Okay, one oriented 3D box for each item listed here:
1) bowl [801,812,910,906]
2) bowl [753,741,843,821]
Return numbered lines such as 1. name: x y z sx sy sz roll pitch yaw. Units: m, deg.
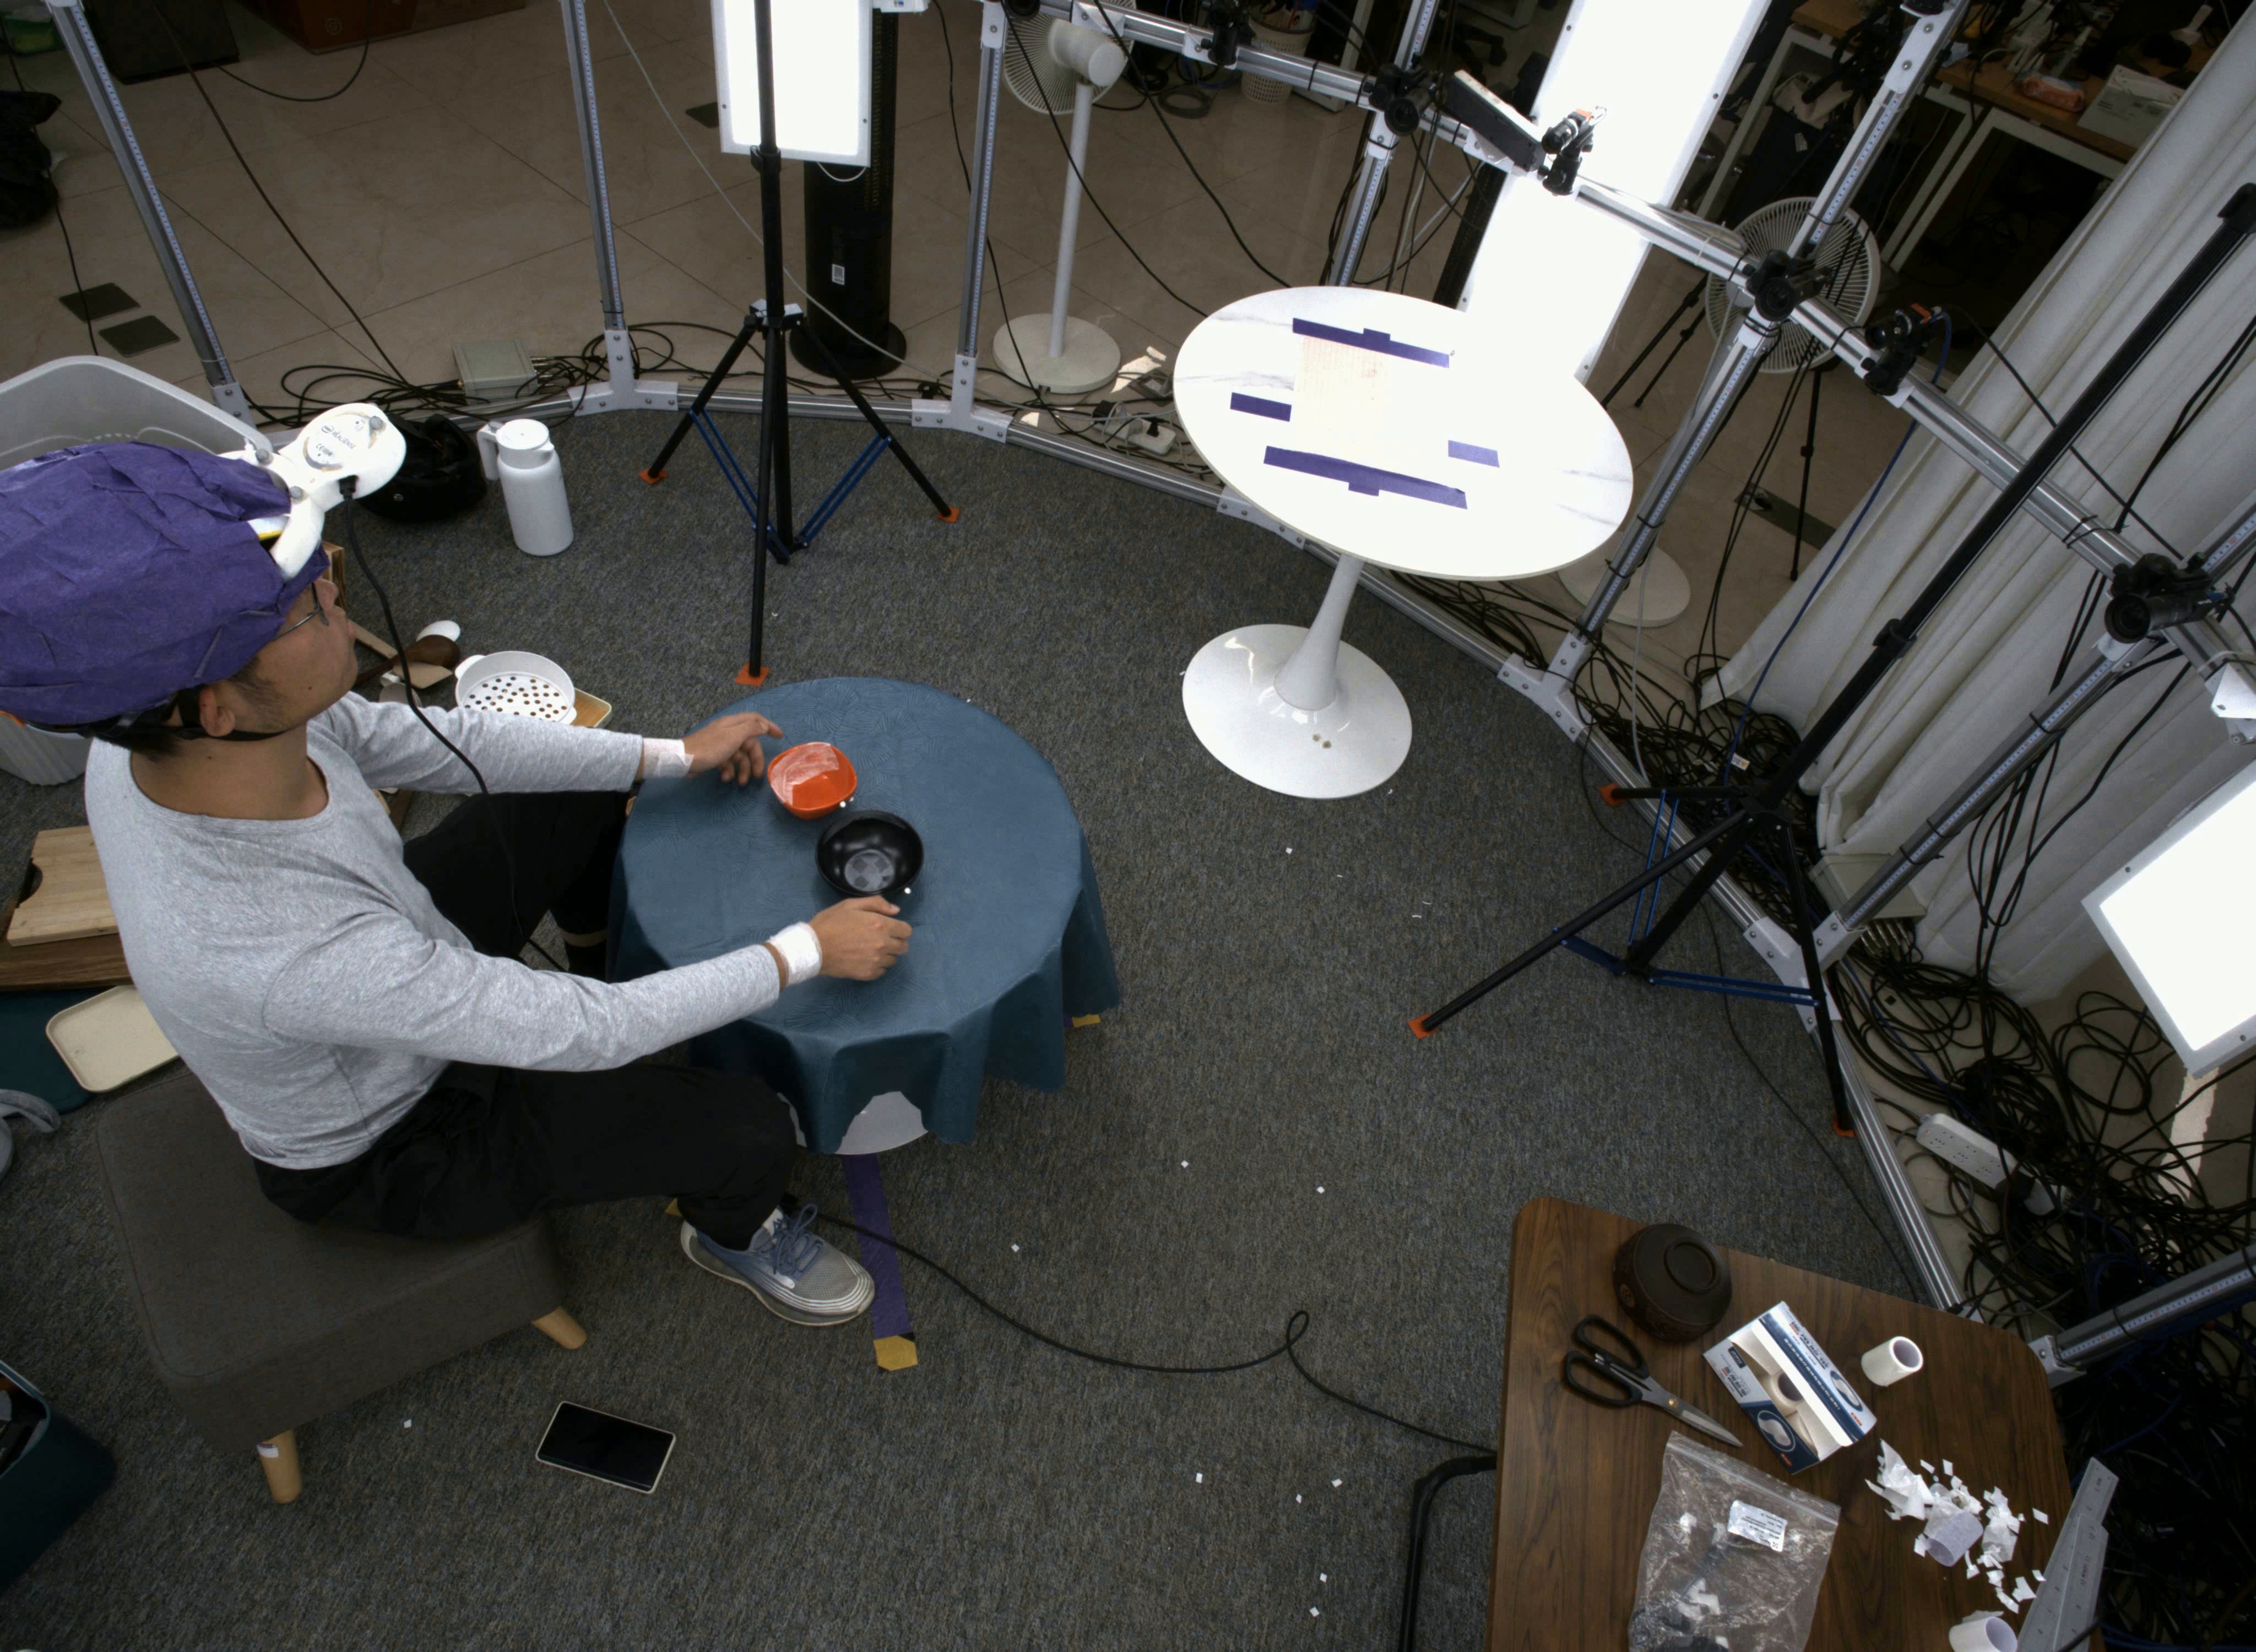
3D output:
1. bowl: -0.352 0.050 1.687 0.139 0.051 0.137 6 54 -7
2. bowl: -0.442 -0.053 1.736 0.119 0.052 0.117 8 53 -9
